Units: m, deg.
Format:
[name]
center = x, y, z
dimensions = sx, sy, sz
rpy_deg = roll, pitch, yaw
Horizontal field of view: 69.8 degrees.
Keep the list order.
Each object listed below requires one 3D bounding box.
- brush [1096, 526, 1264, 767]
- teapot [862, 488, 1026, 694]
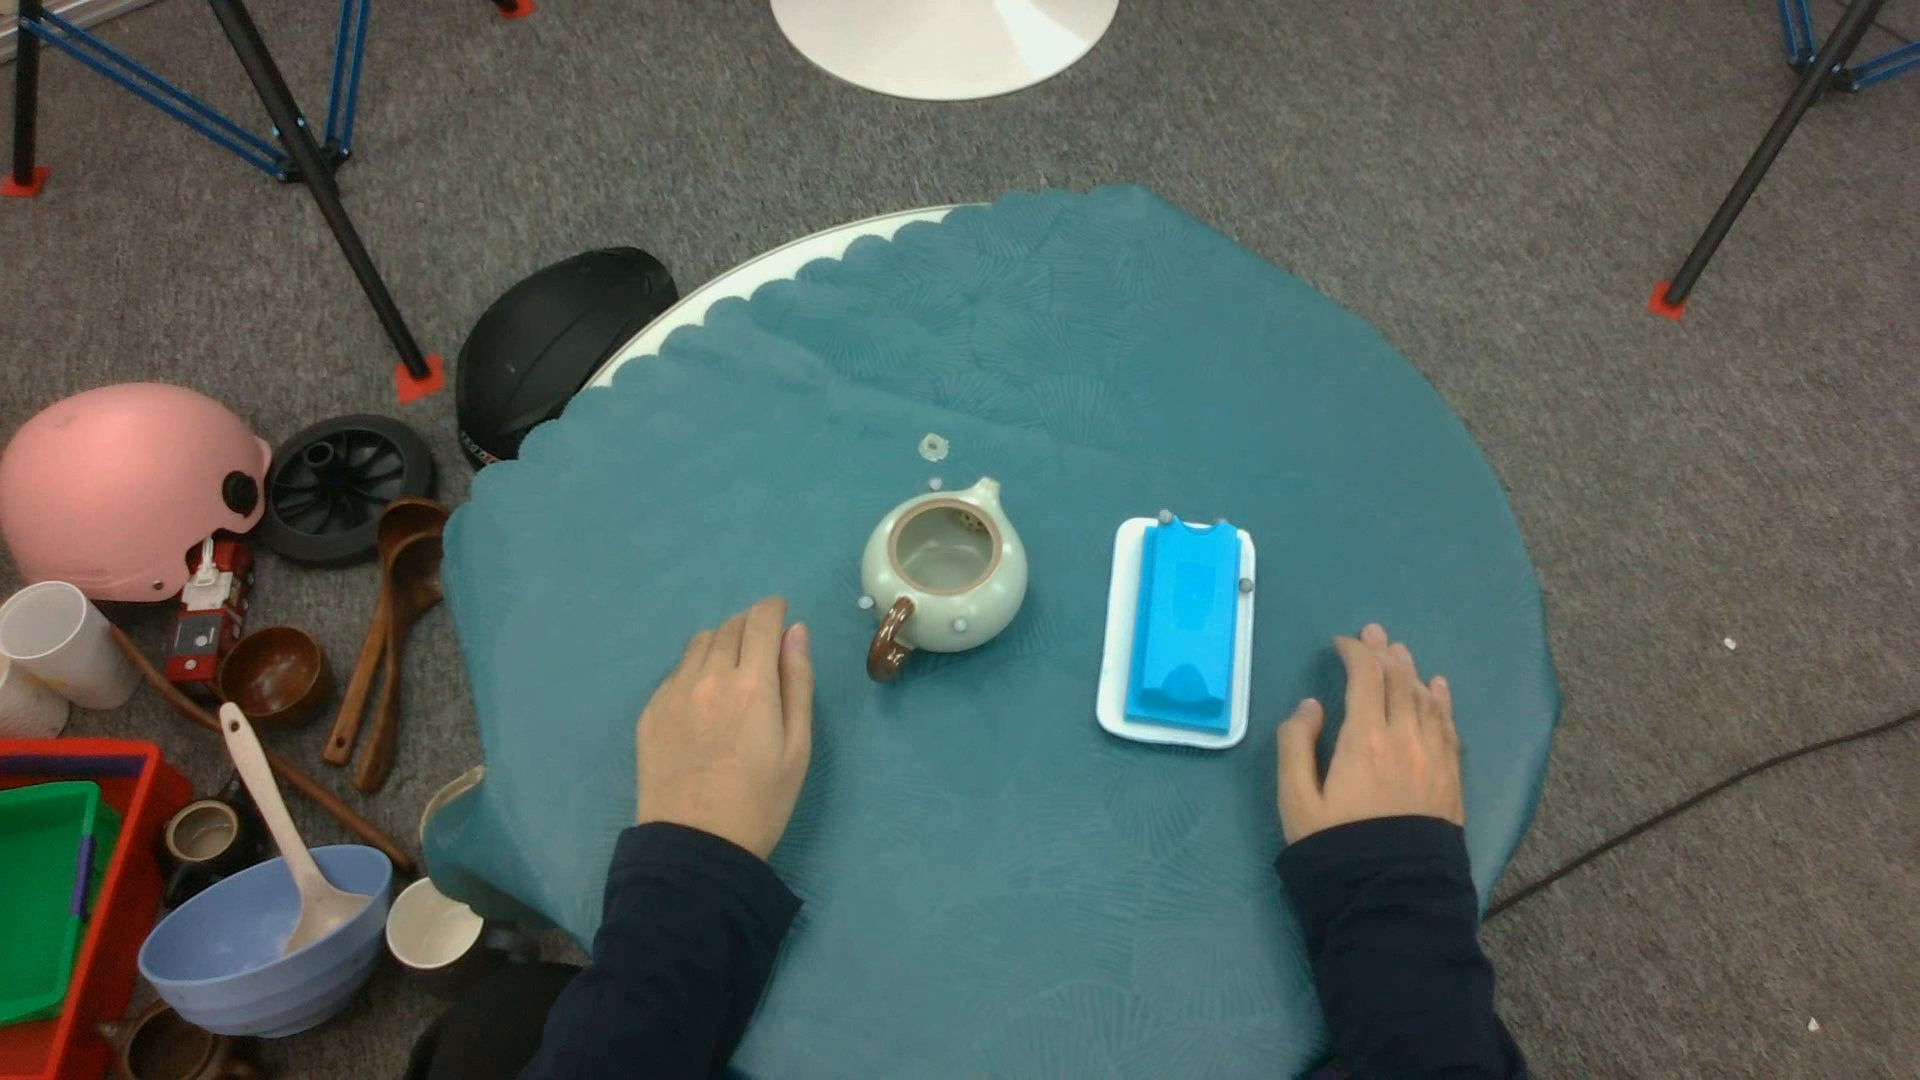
[brush]
center = 0.122, 0.050, 0.749
dimensions = 0.084, 0.055, 0.144
rpy_deg = 7, 55, 9
[teapot]
center = -0.013, 0.031, 0.763
dimensions = 0.092, 0.059, 0.128
rpy_deg = 25, 60, 13
